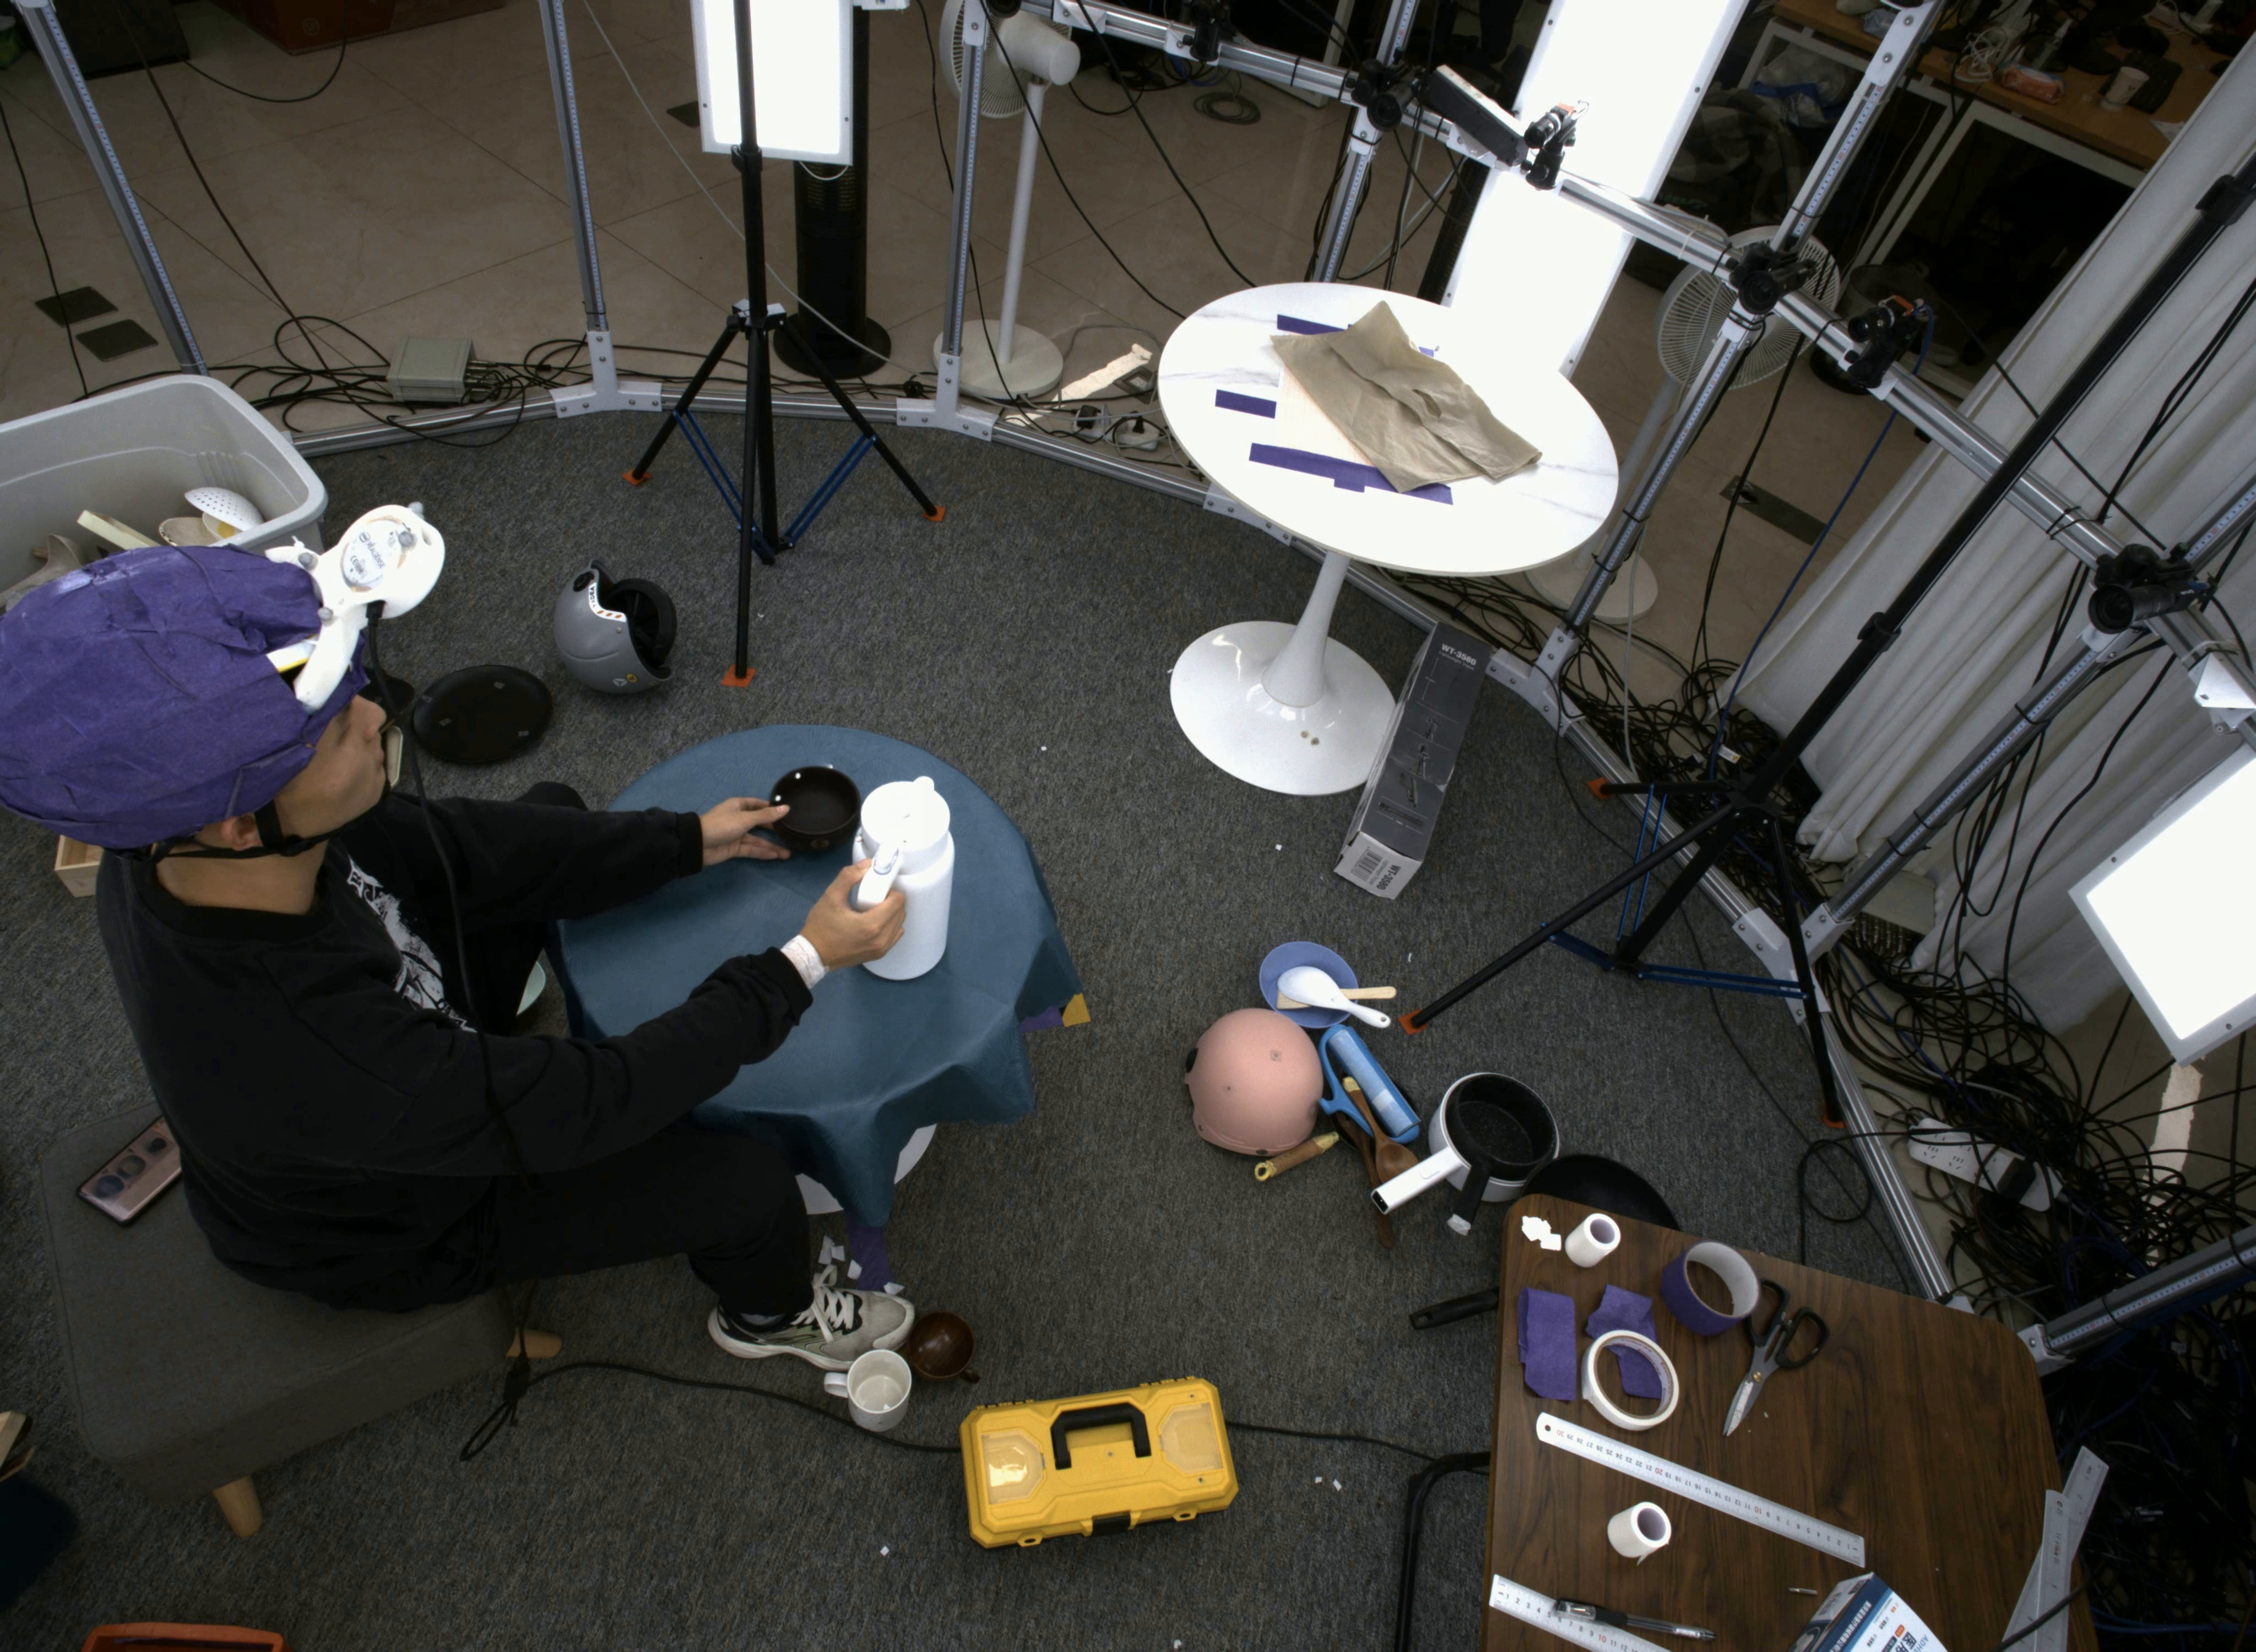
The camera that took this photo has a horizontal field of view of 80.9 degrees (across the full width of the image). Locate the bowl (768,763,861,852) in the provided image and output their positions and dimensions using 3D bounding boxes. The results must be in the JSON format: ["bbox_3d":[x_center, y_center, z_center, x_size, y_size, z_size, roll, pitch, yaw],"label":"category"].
[{"bbox_3d":[-0.409,-0.017,1.690,0.118,0.071,0.116,8,53,-8],"label":"bowl"}]

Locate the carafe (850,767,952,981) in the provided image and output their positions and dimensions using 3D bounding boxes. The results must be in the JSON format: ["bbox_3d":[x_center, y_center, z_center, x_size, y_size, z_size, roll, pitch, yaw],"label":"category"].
[{"bbox_3d":[-0.272,0.077,1.531,0.123,0.274,0.171,18,51,0],"label":"carafe"}]
